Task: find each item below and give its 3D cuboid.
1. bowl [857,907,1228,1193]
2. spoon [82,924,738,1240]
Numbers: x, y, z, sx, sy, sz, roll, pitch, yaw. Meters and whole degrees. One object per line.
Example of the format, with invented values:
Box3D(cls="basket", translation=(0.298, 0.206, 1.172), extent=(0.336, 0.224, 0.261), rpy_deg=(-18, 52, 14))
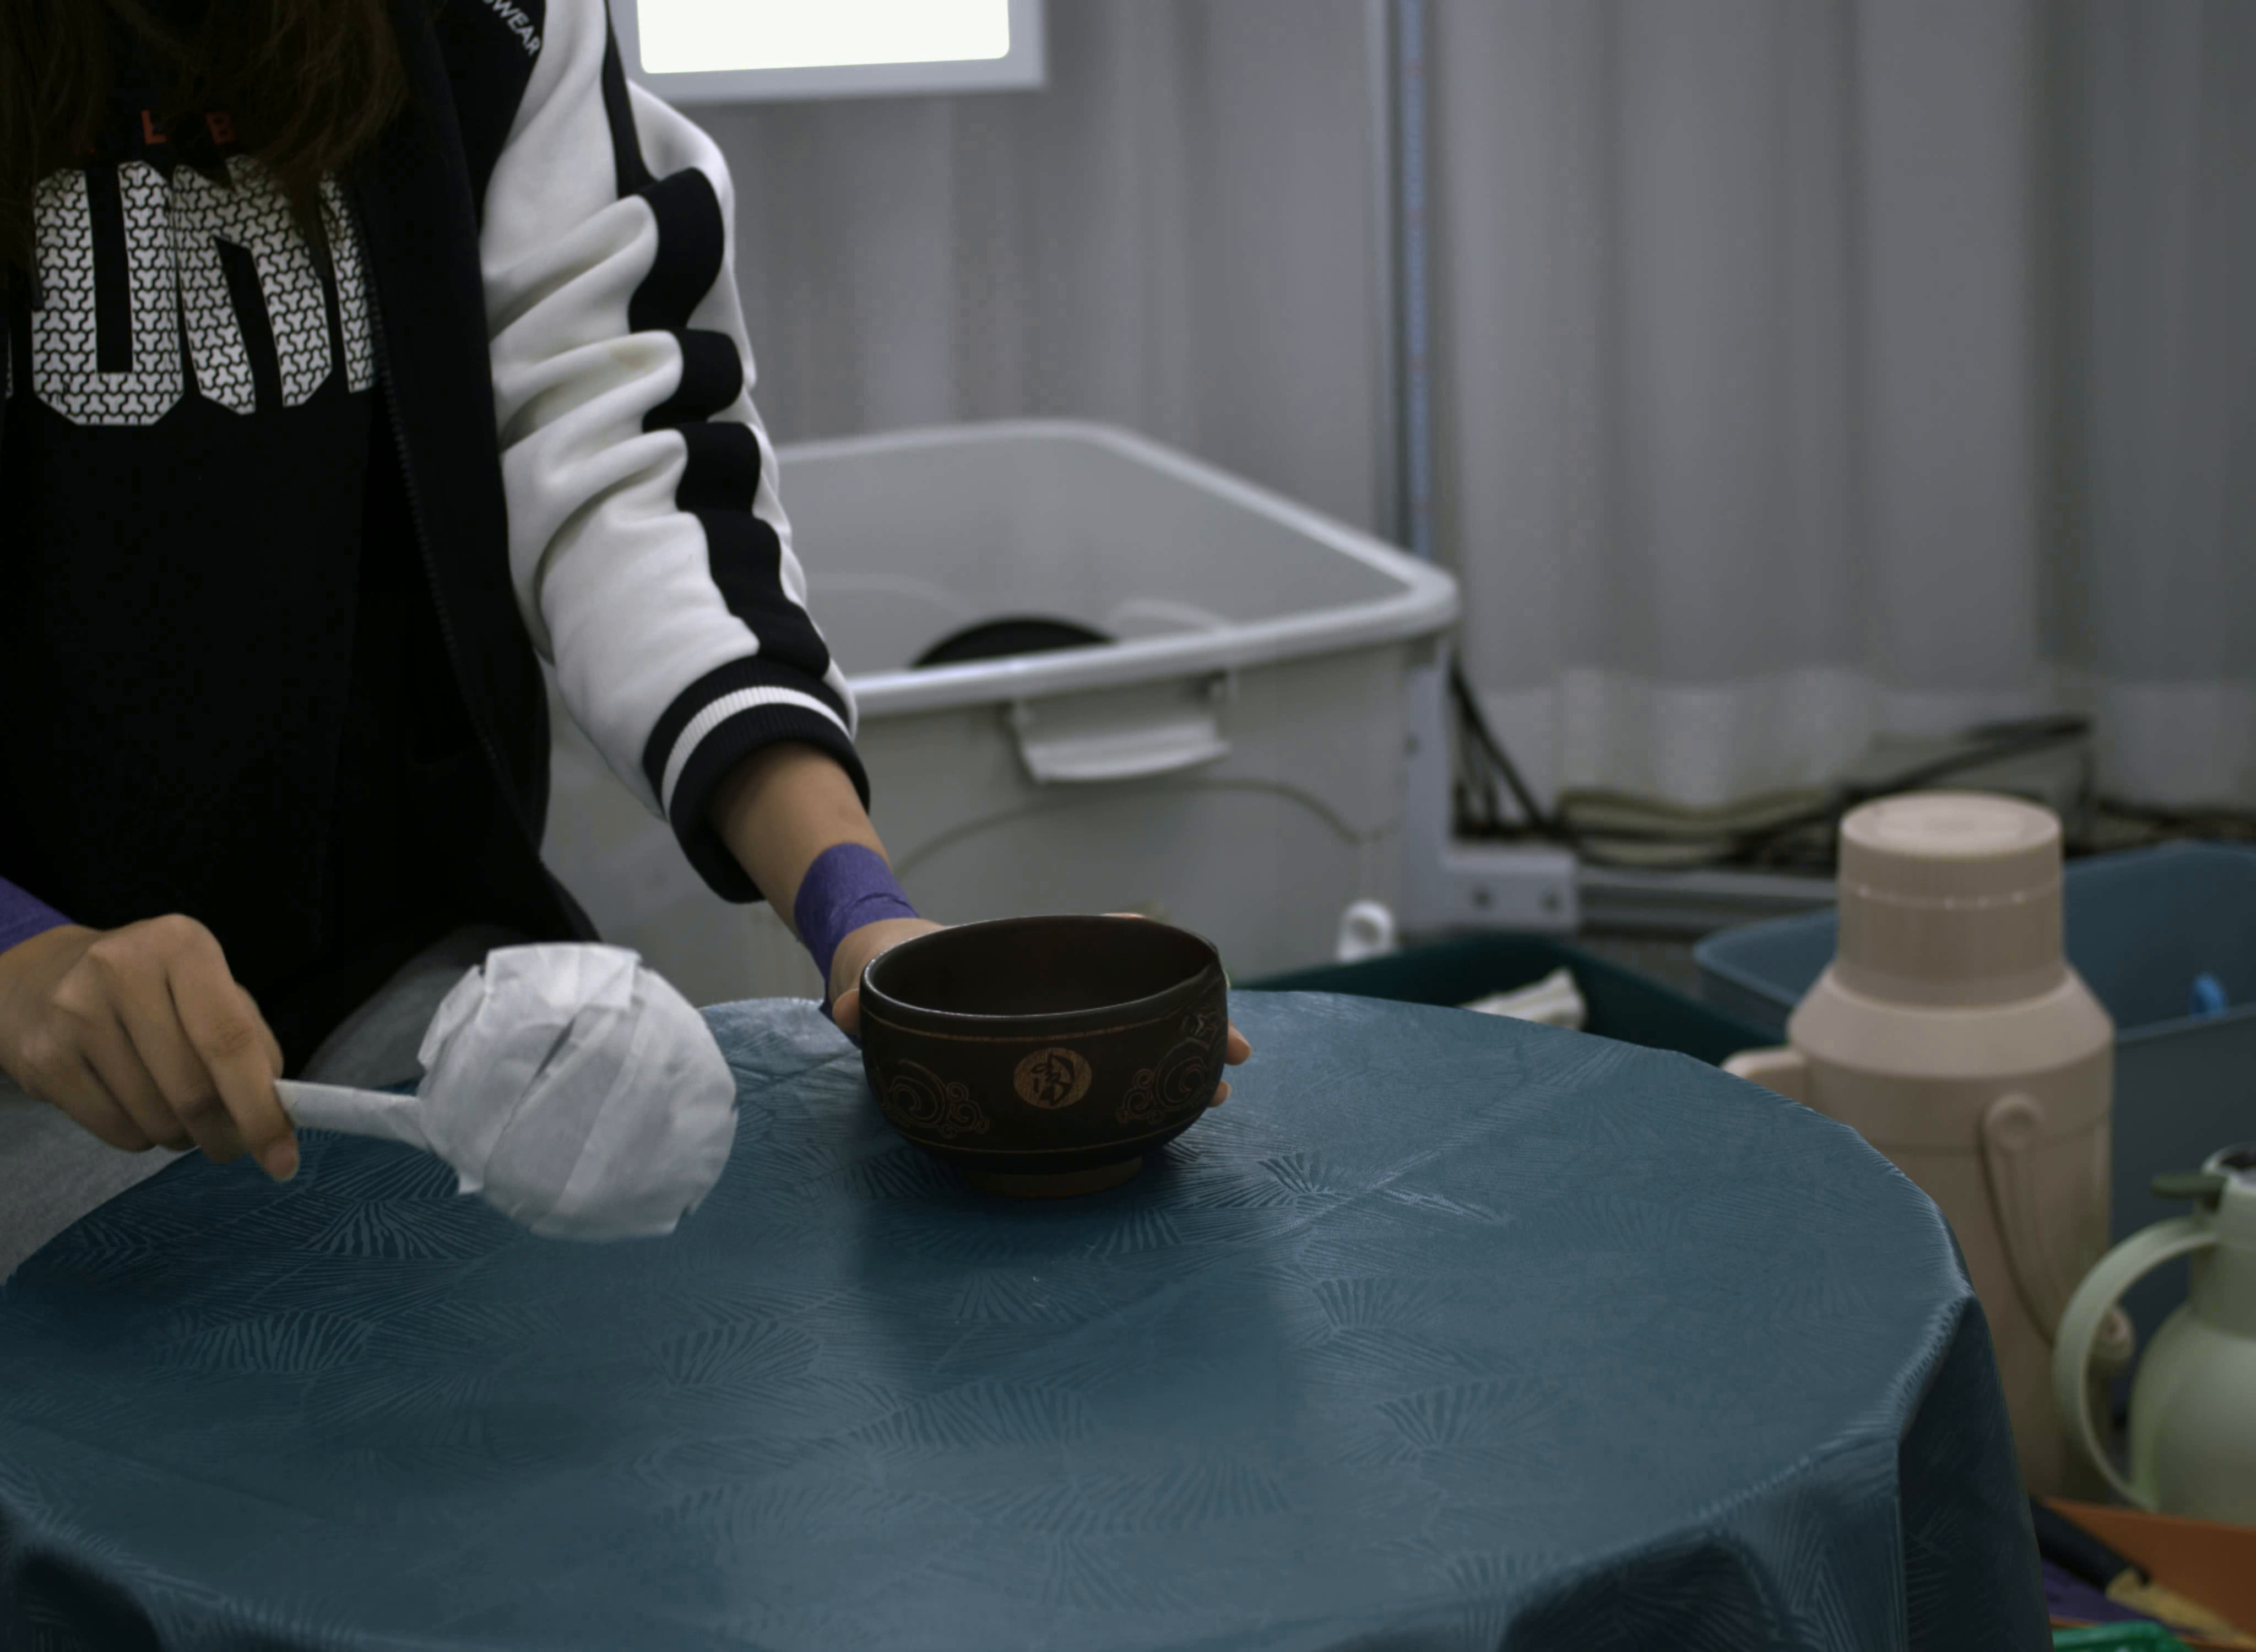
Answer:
Box3D(cls="bowl", translation=(-0.026, 0.075, 1.729), extent=(0.117, 0.069, 0.119), rpy_deg=(-2, 14, 0))
Box3D(cls="spoon", translation=(-0.218, 0.076, 1.629), extent=(0.059, 0.100, 0.278), rpy_deg=(-27, 16, -36))
